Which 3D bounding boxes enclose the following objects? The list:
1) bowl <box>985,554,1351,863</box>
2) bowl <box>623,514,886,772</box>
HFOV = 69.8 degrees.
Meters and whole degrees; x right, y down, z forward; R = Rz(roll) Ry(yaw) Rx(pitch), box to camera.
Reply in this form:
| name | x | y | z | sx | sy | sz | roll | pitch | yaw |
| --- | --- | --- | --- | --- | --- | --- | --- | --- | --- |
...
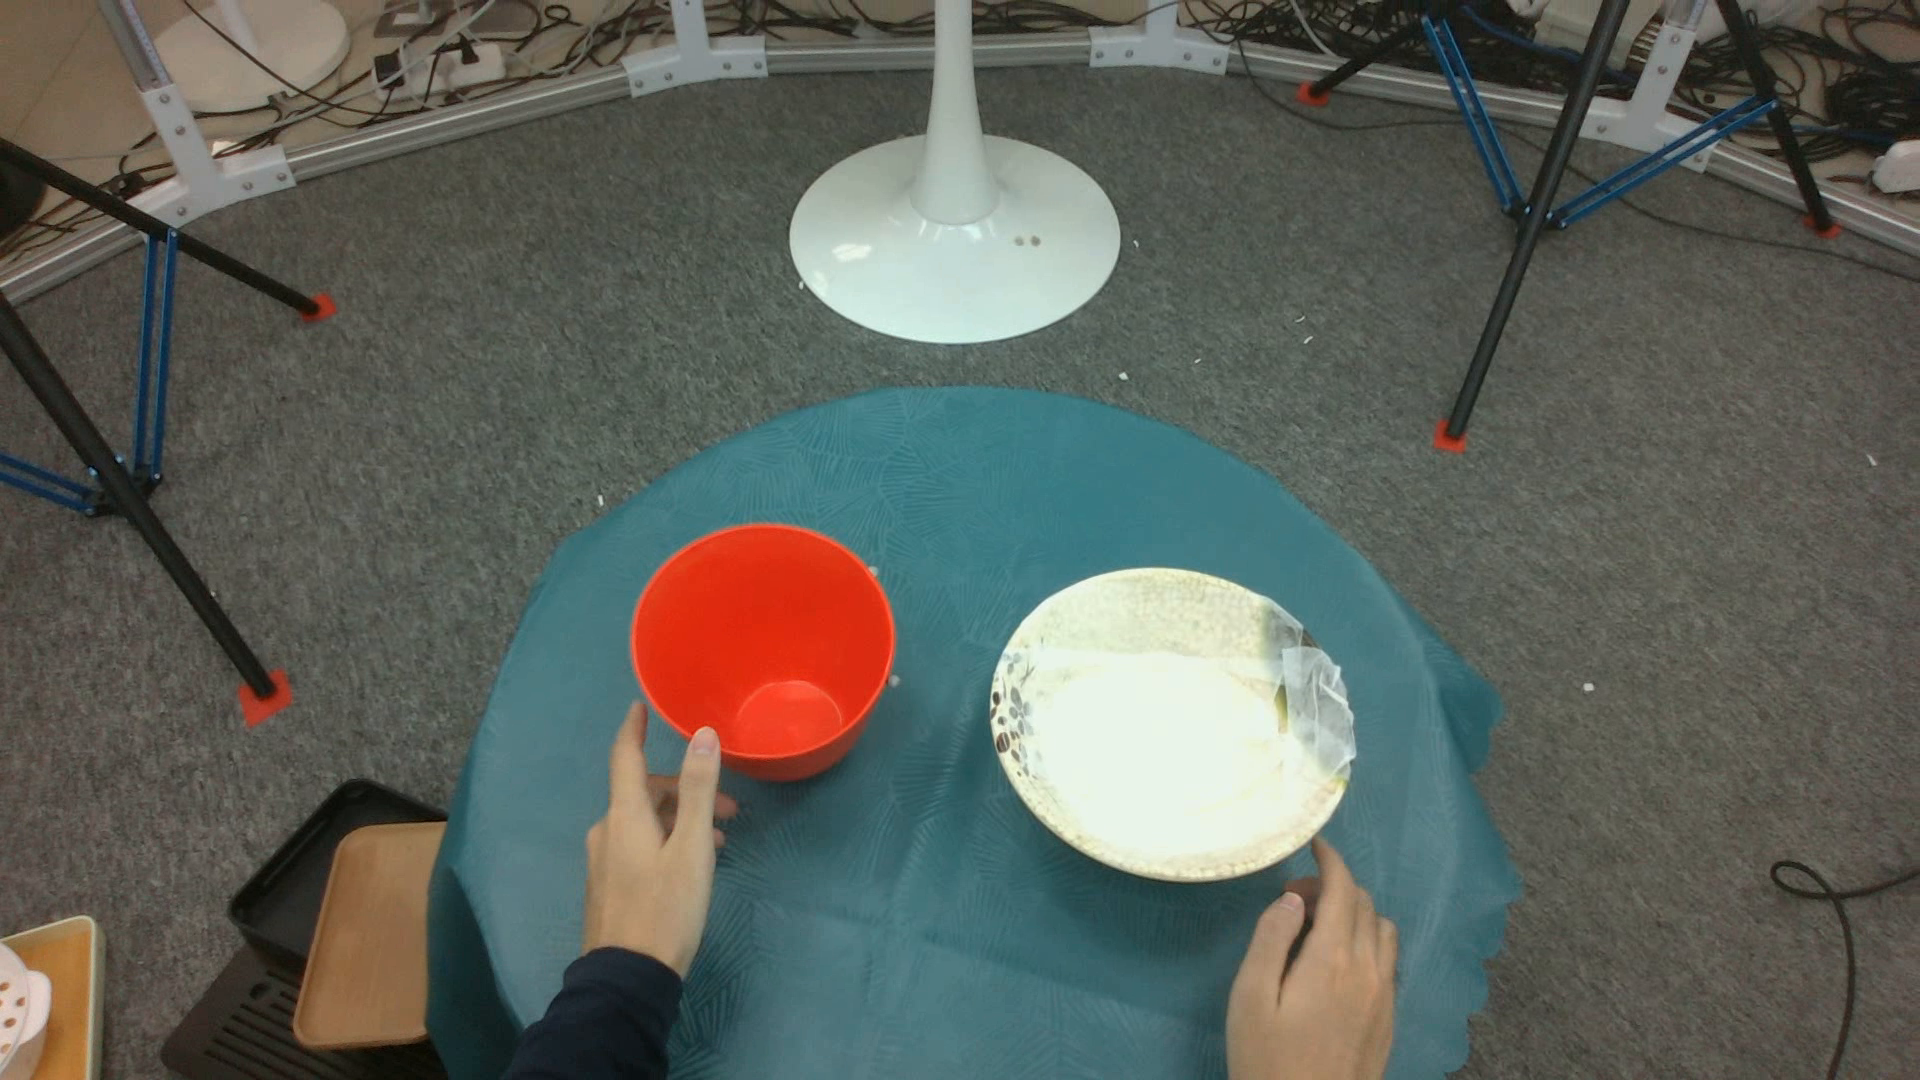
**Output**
| name | x | y | z | sx | sy | sz | roll | pitch | yaw |
| --- | --- | --- | --- | --- | --- | --- | --- | --- | --- |
| bowl | 0.116 | 0.109 | 0.799 | 0.204 | 0.077 | 0.205 | 0 | 50 | 0 |
| bowl | -0.116 | 0.073 | 0.811 | 0.148 | 0.104 | 0.148 | 1 | 51 | -1 |
